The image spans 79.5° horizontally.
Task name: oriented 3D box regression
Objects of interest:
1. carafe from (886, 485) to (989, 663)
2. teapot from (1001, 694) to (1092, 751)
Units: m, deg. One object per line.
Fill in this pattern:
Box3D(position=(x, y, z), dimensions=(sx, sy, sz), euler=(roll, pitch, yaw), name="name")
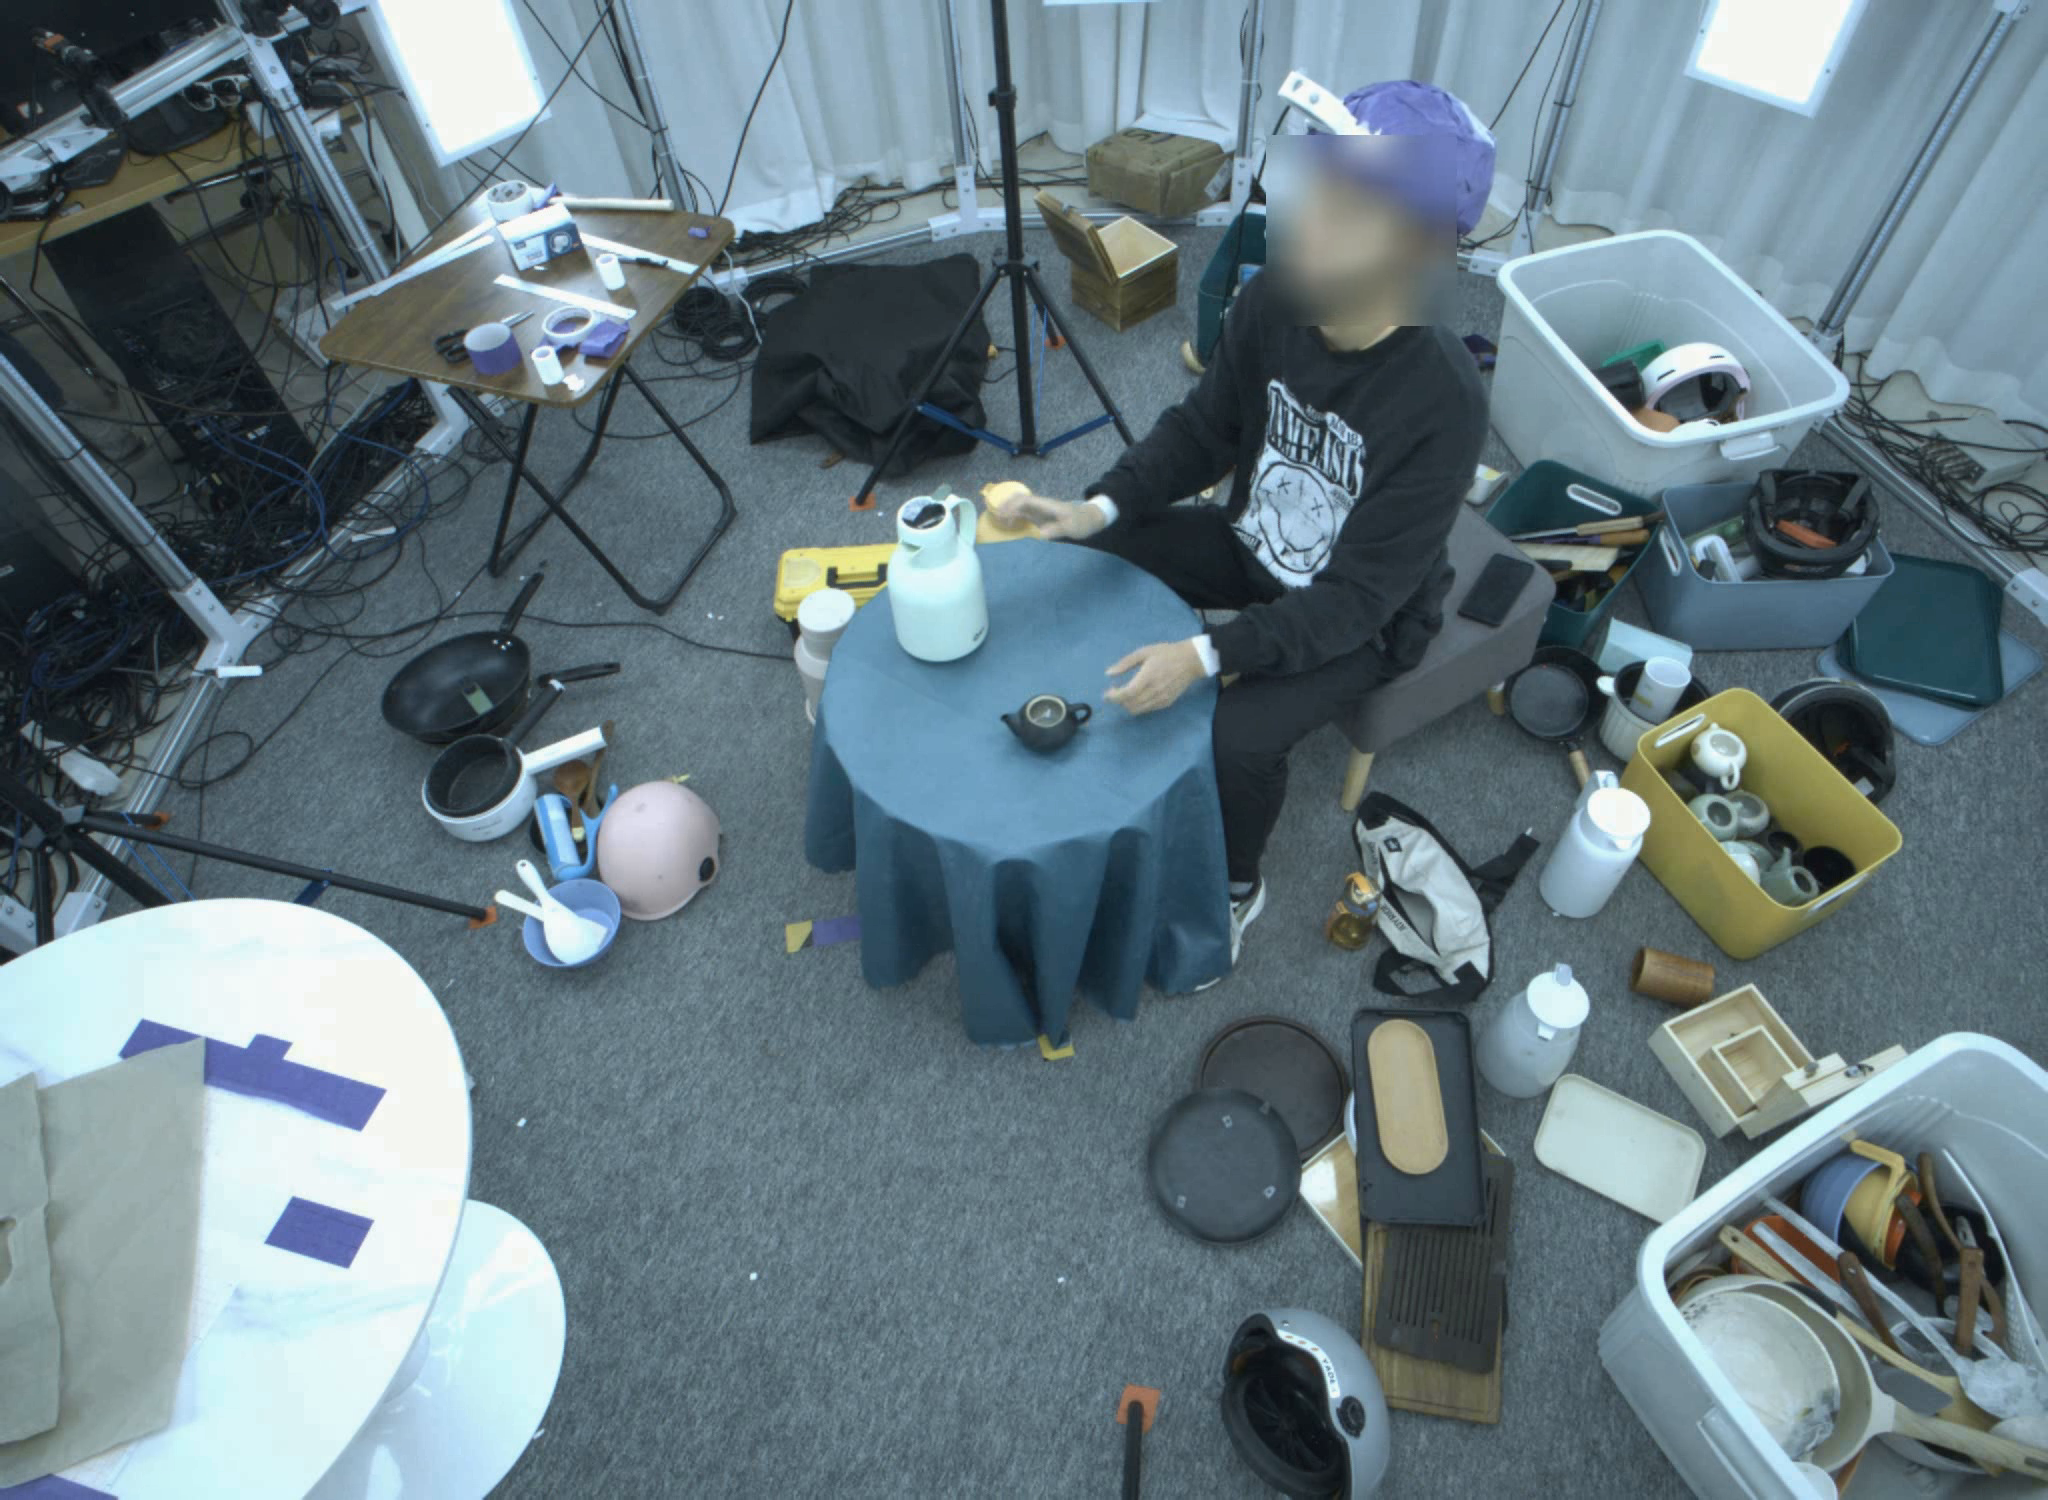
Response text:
Box3D(position=(-0.128, -0.269, 1.825), dimensions=(0.142, 0.259, 0.187), euler=(20, 55, 19), name="carafe")
Box3D(position=(0.033, -0.041, 1.778), dimensions=(0.133, 0.053, 0.089), euler=(-9, 56, -4), name="teapot")
